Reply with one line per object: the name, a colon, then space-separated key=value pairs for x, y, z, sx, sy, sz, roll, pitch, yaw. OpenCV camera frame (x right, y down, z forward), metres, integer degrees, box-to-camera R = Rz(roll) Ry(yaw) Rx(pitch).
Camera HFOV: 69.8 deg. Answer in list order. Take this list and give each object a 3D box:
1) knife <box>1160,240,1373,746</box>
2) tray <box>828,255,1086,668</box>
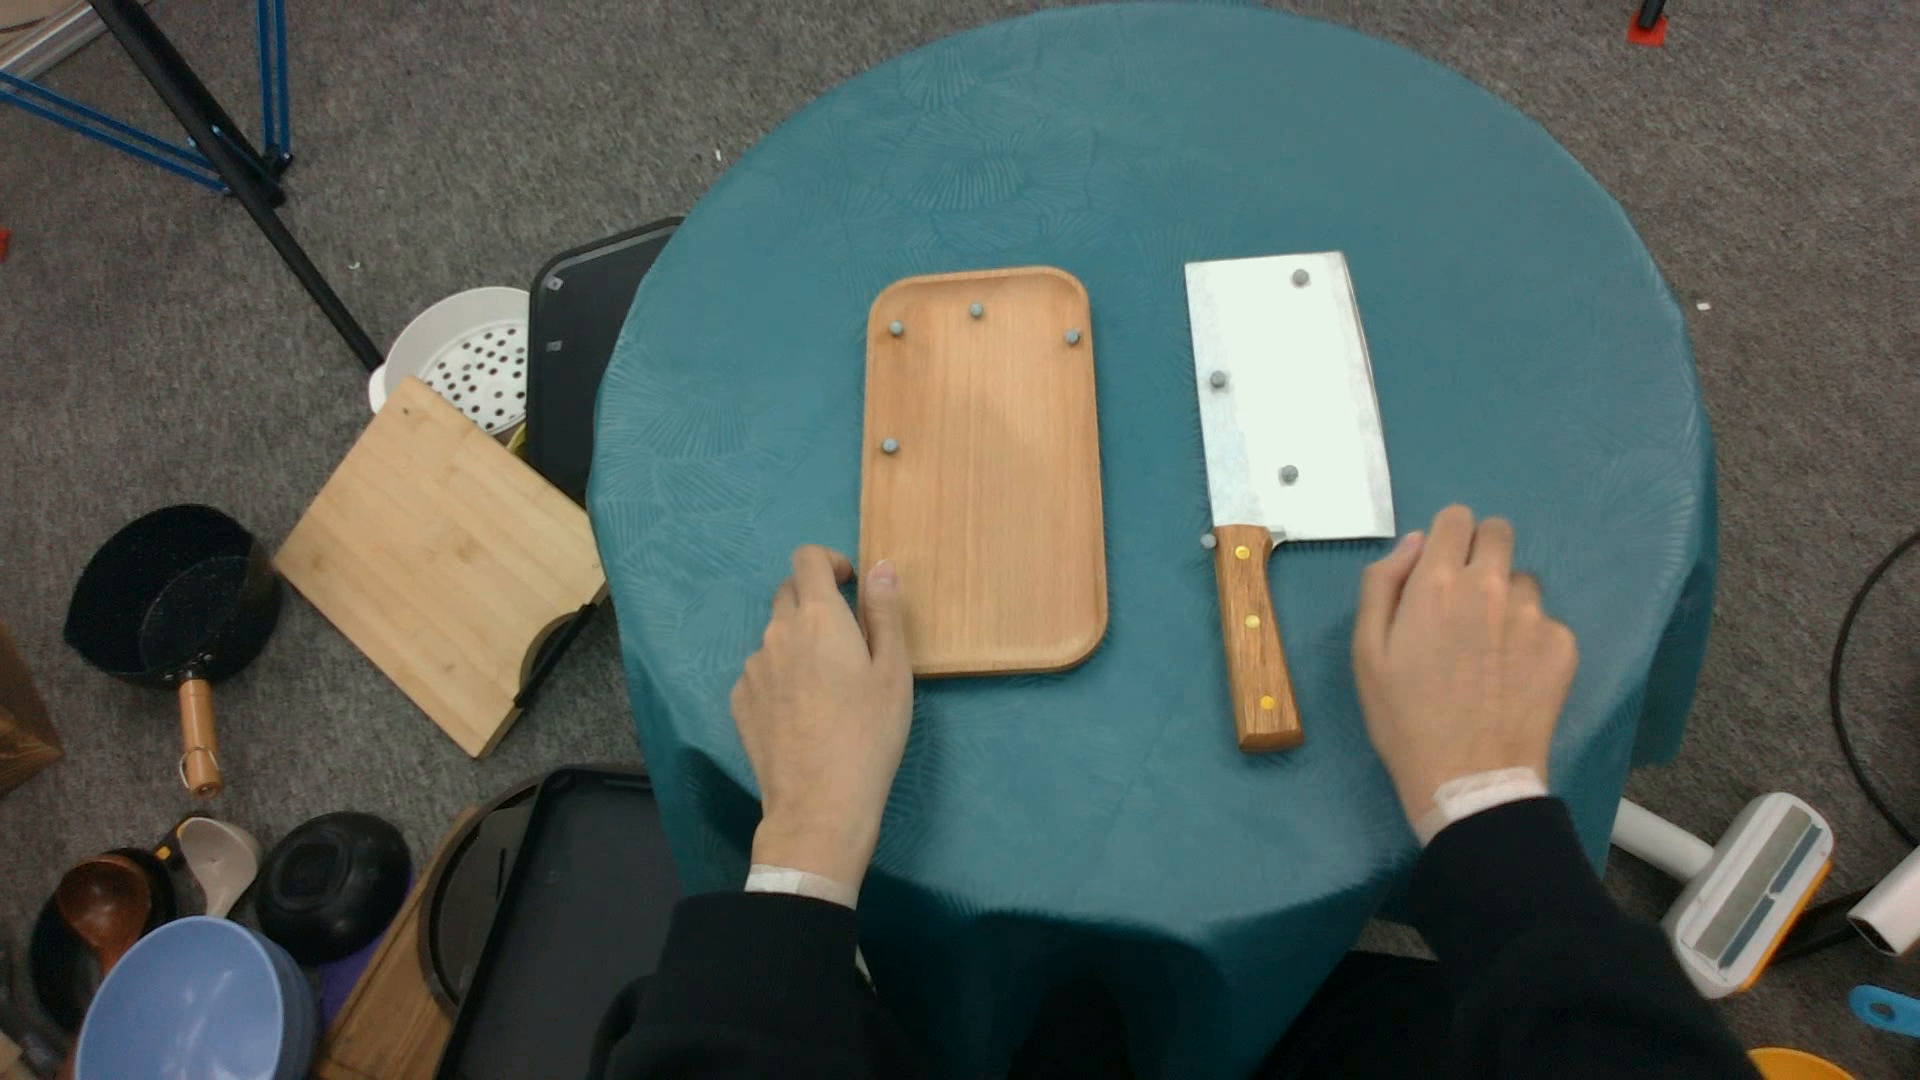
knife: x=0.161 y=-0.039 z=0.710 sx=0.093 sy=0.021 sz=0.307 roll=-3 pitch=59 yaw=3
tray: x=-0.001 y=-0.048 z=0.733 sx=0.130 sy=0.023 sz=0.251 roll=-3 pitch=62 yaw=7
